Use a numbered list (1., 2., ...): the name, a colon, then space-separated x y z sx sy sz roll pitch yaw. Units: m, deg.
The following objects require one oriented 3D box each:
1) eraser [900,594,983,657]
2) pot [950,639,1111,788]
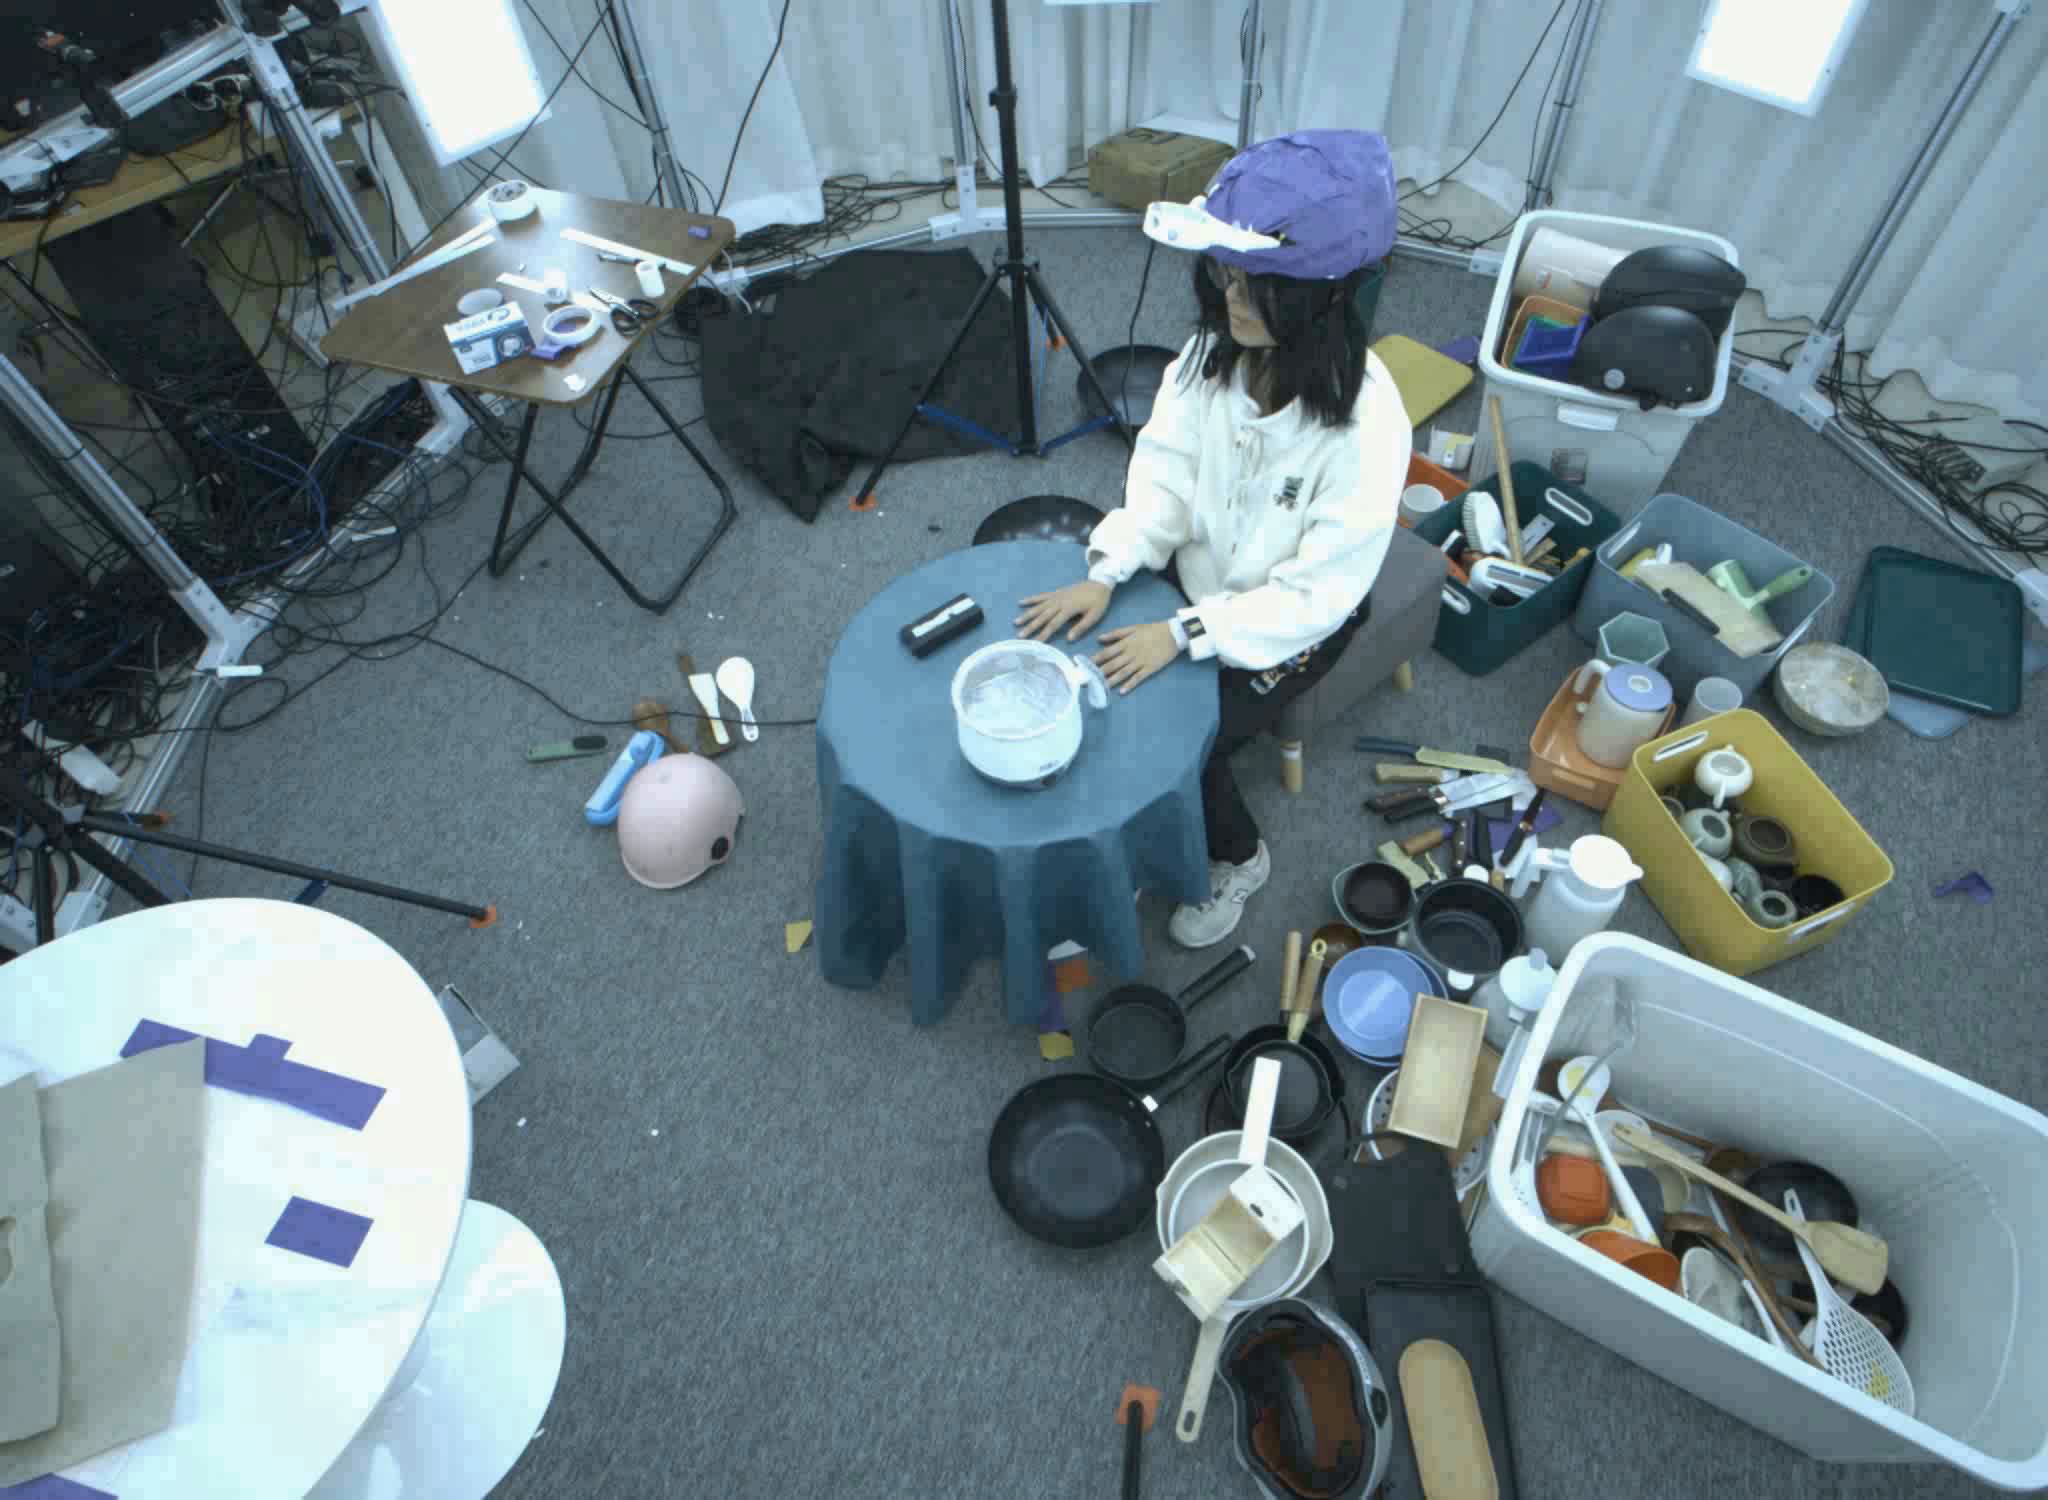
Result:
1. eraser: -0.128 -0.195 1.913 0.126 0.031 0.052 -32 60 -20
2. pot: 0.016 -0.061 1.744 0.235 0.138 0.175 -27 58 -14
